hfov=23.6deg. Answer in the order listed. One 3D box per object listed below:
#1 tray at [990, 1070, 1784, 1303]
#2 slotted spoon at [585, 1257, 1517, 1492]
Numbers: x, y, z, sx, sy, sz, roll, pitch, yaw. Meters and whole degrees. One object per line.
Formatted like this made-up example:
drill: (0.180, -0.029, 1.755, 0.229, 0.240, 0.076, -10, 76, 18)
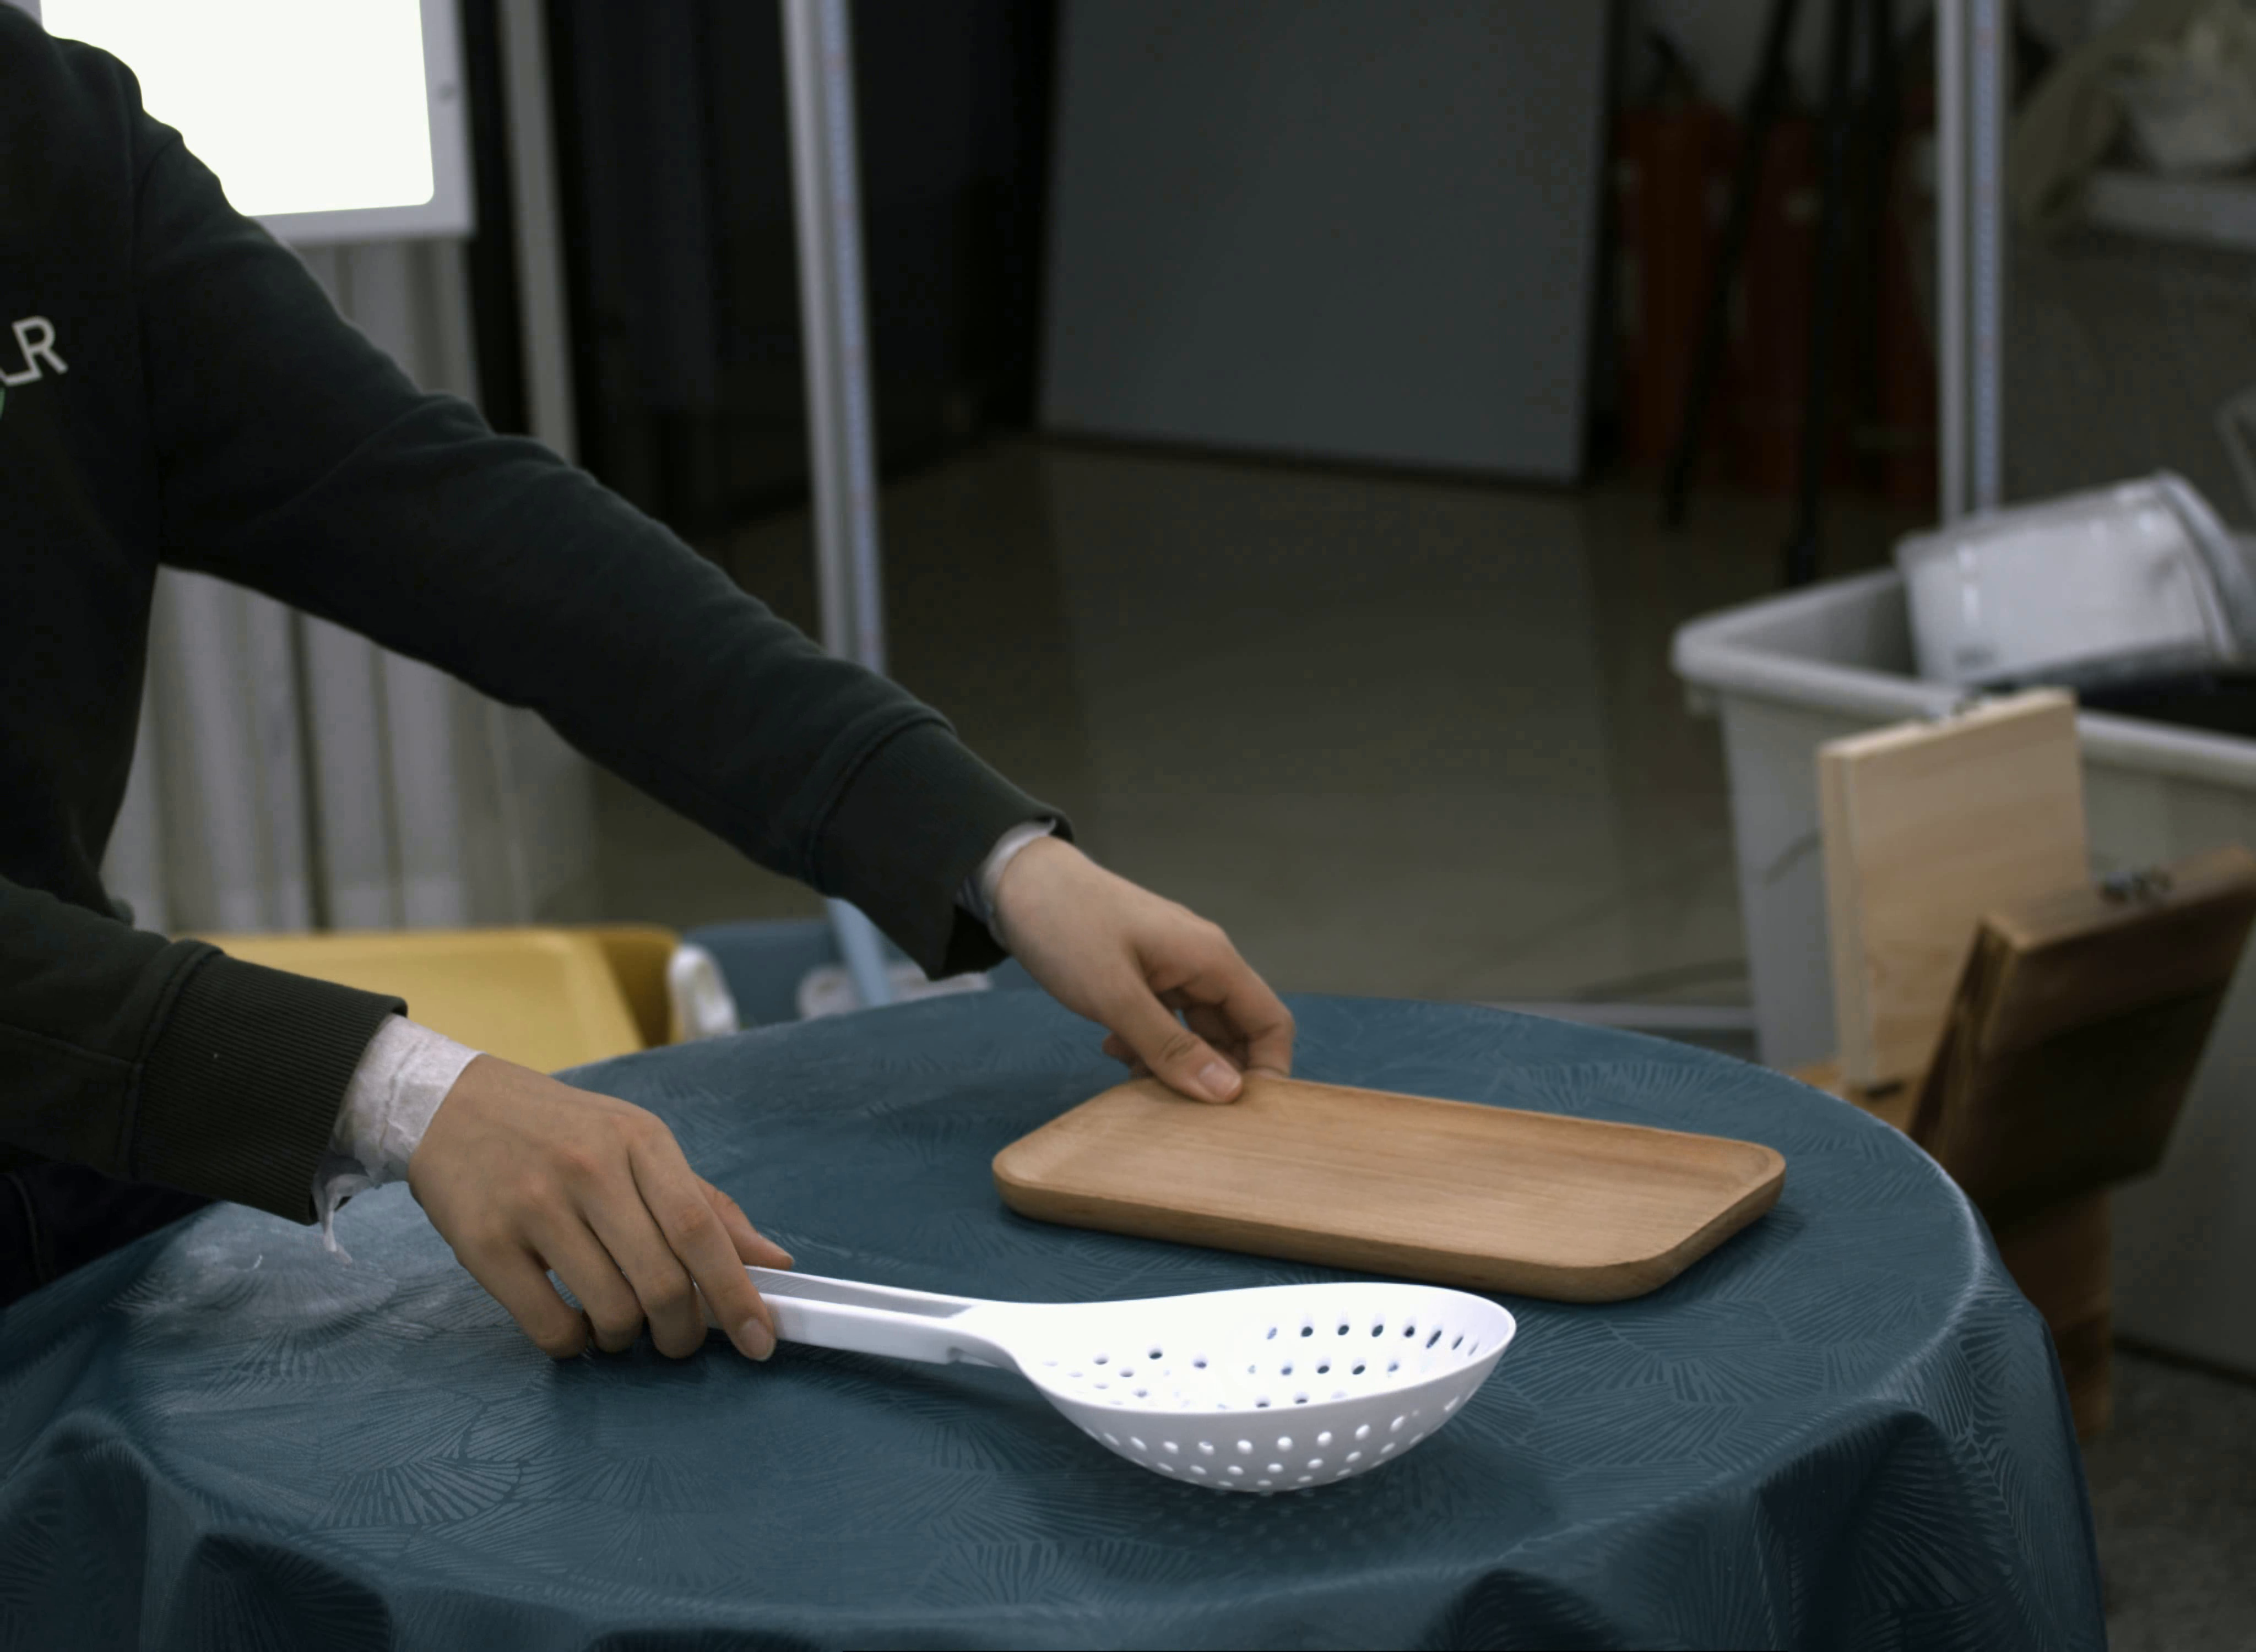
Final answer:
tray: (0.082, 0.115, 1.734, 0.252, 0.023, 0.128, 5, 15, 35)
slotted spoon: (-0.036, 0.149, 1.575, 0.353, 0.046, 0.133, 8, 14, 43)
